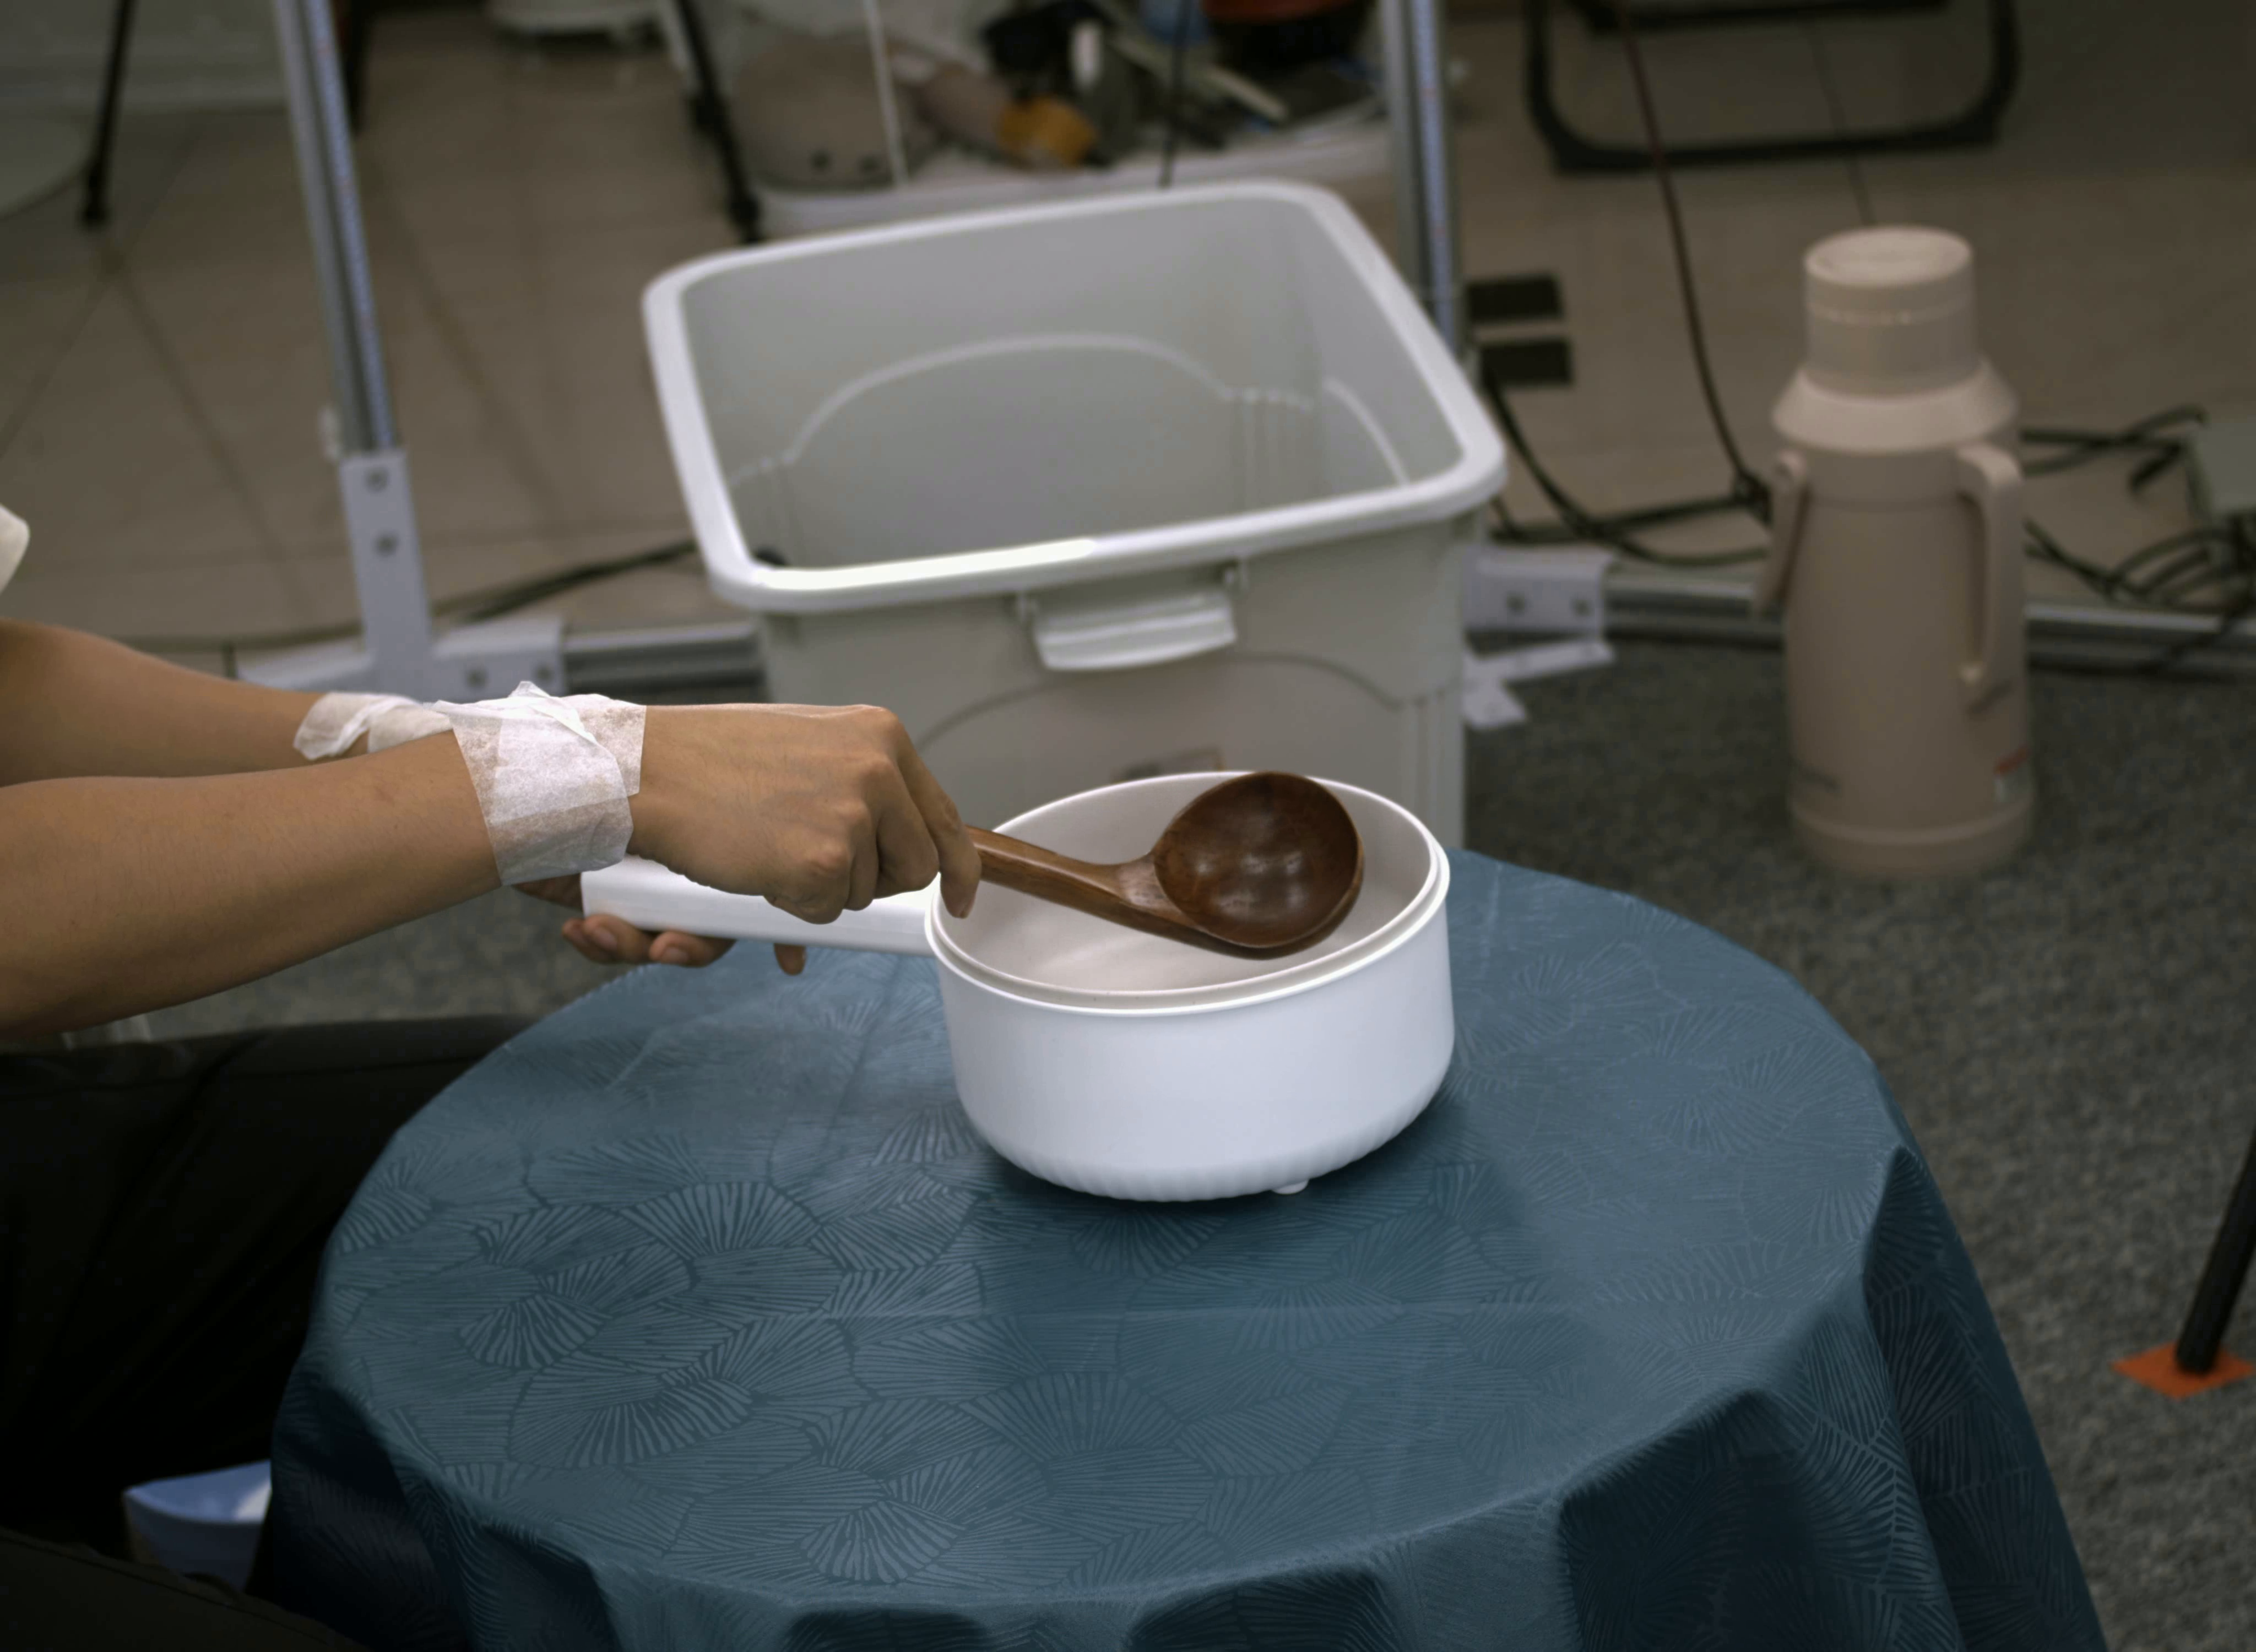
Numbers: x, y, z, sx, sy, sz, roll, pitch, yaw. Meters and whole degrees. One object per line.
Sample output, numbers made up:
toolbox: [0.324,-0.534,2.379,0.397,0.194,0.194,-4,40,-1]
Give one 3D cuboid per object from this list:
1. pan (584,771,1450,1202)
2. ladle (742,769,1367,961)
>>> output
pan: [-0.045,0.060,2.212,0.354,0.104,0.198,4,28,23]
ladle: [-0.020,-0.003,2.097,0.275,0.077,0.080,17,29,-45]
